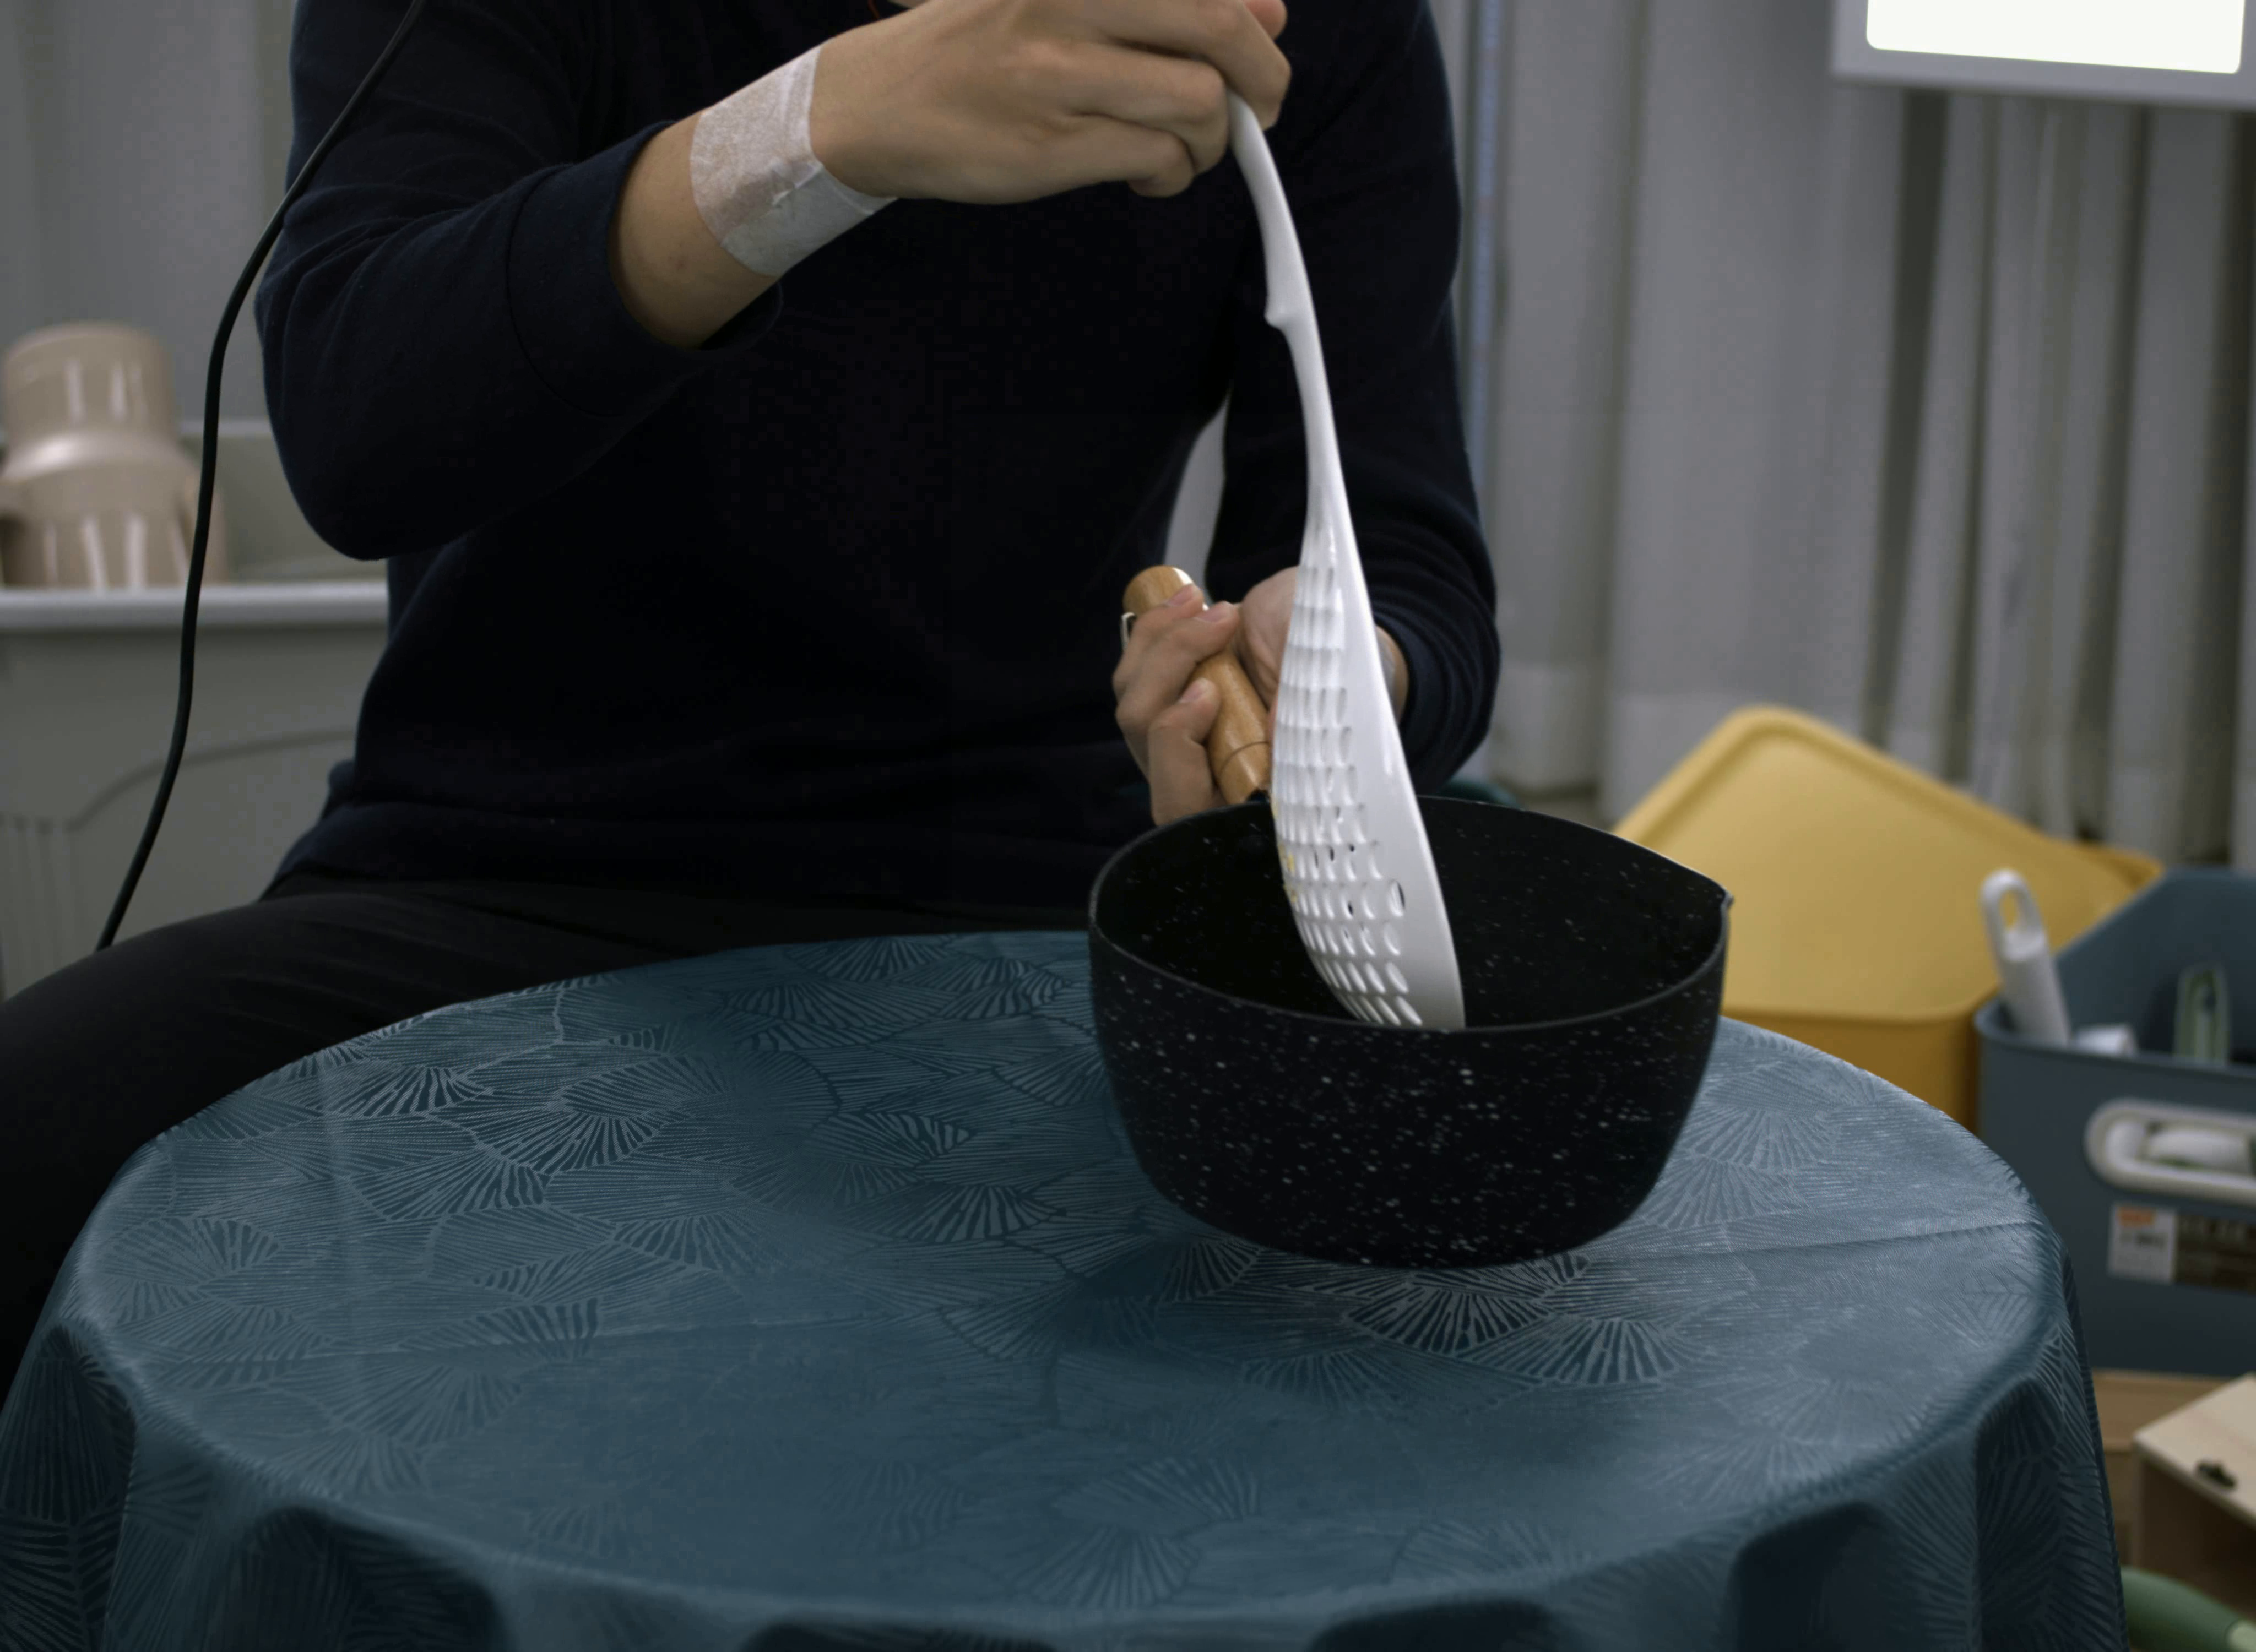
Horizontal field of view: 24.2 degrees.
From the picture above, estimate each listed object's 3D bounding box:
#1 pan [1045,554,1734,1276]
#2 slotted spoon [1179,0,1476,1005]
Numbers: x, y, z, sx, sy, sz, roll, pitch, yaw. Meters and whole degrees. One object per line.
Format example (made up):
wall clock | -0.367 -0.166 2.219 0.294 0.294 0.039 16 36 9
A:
pan | 0.054 0.022 1.599 0.208 0.109 0.338 -5 24 -18
slotted spoon | 0.051 -0.094 1.516 0.050 0.350 0.136 -8 12 -3
